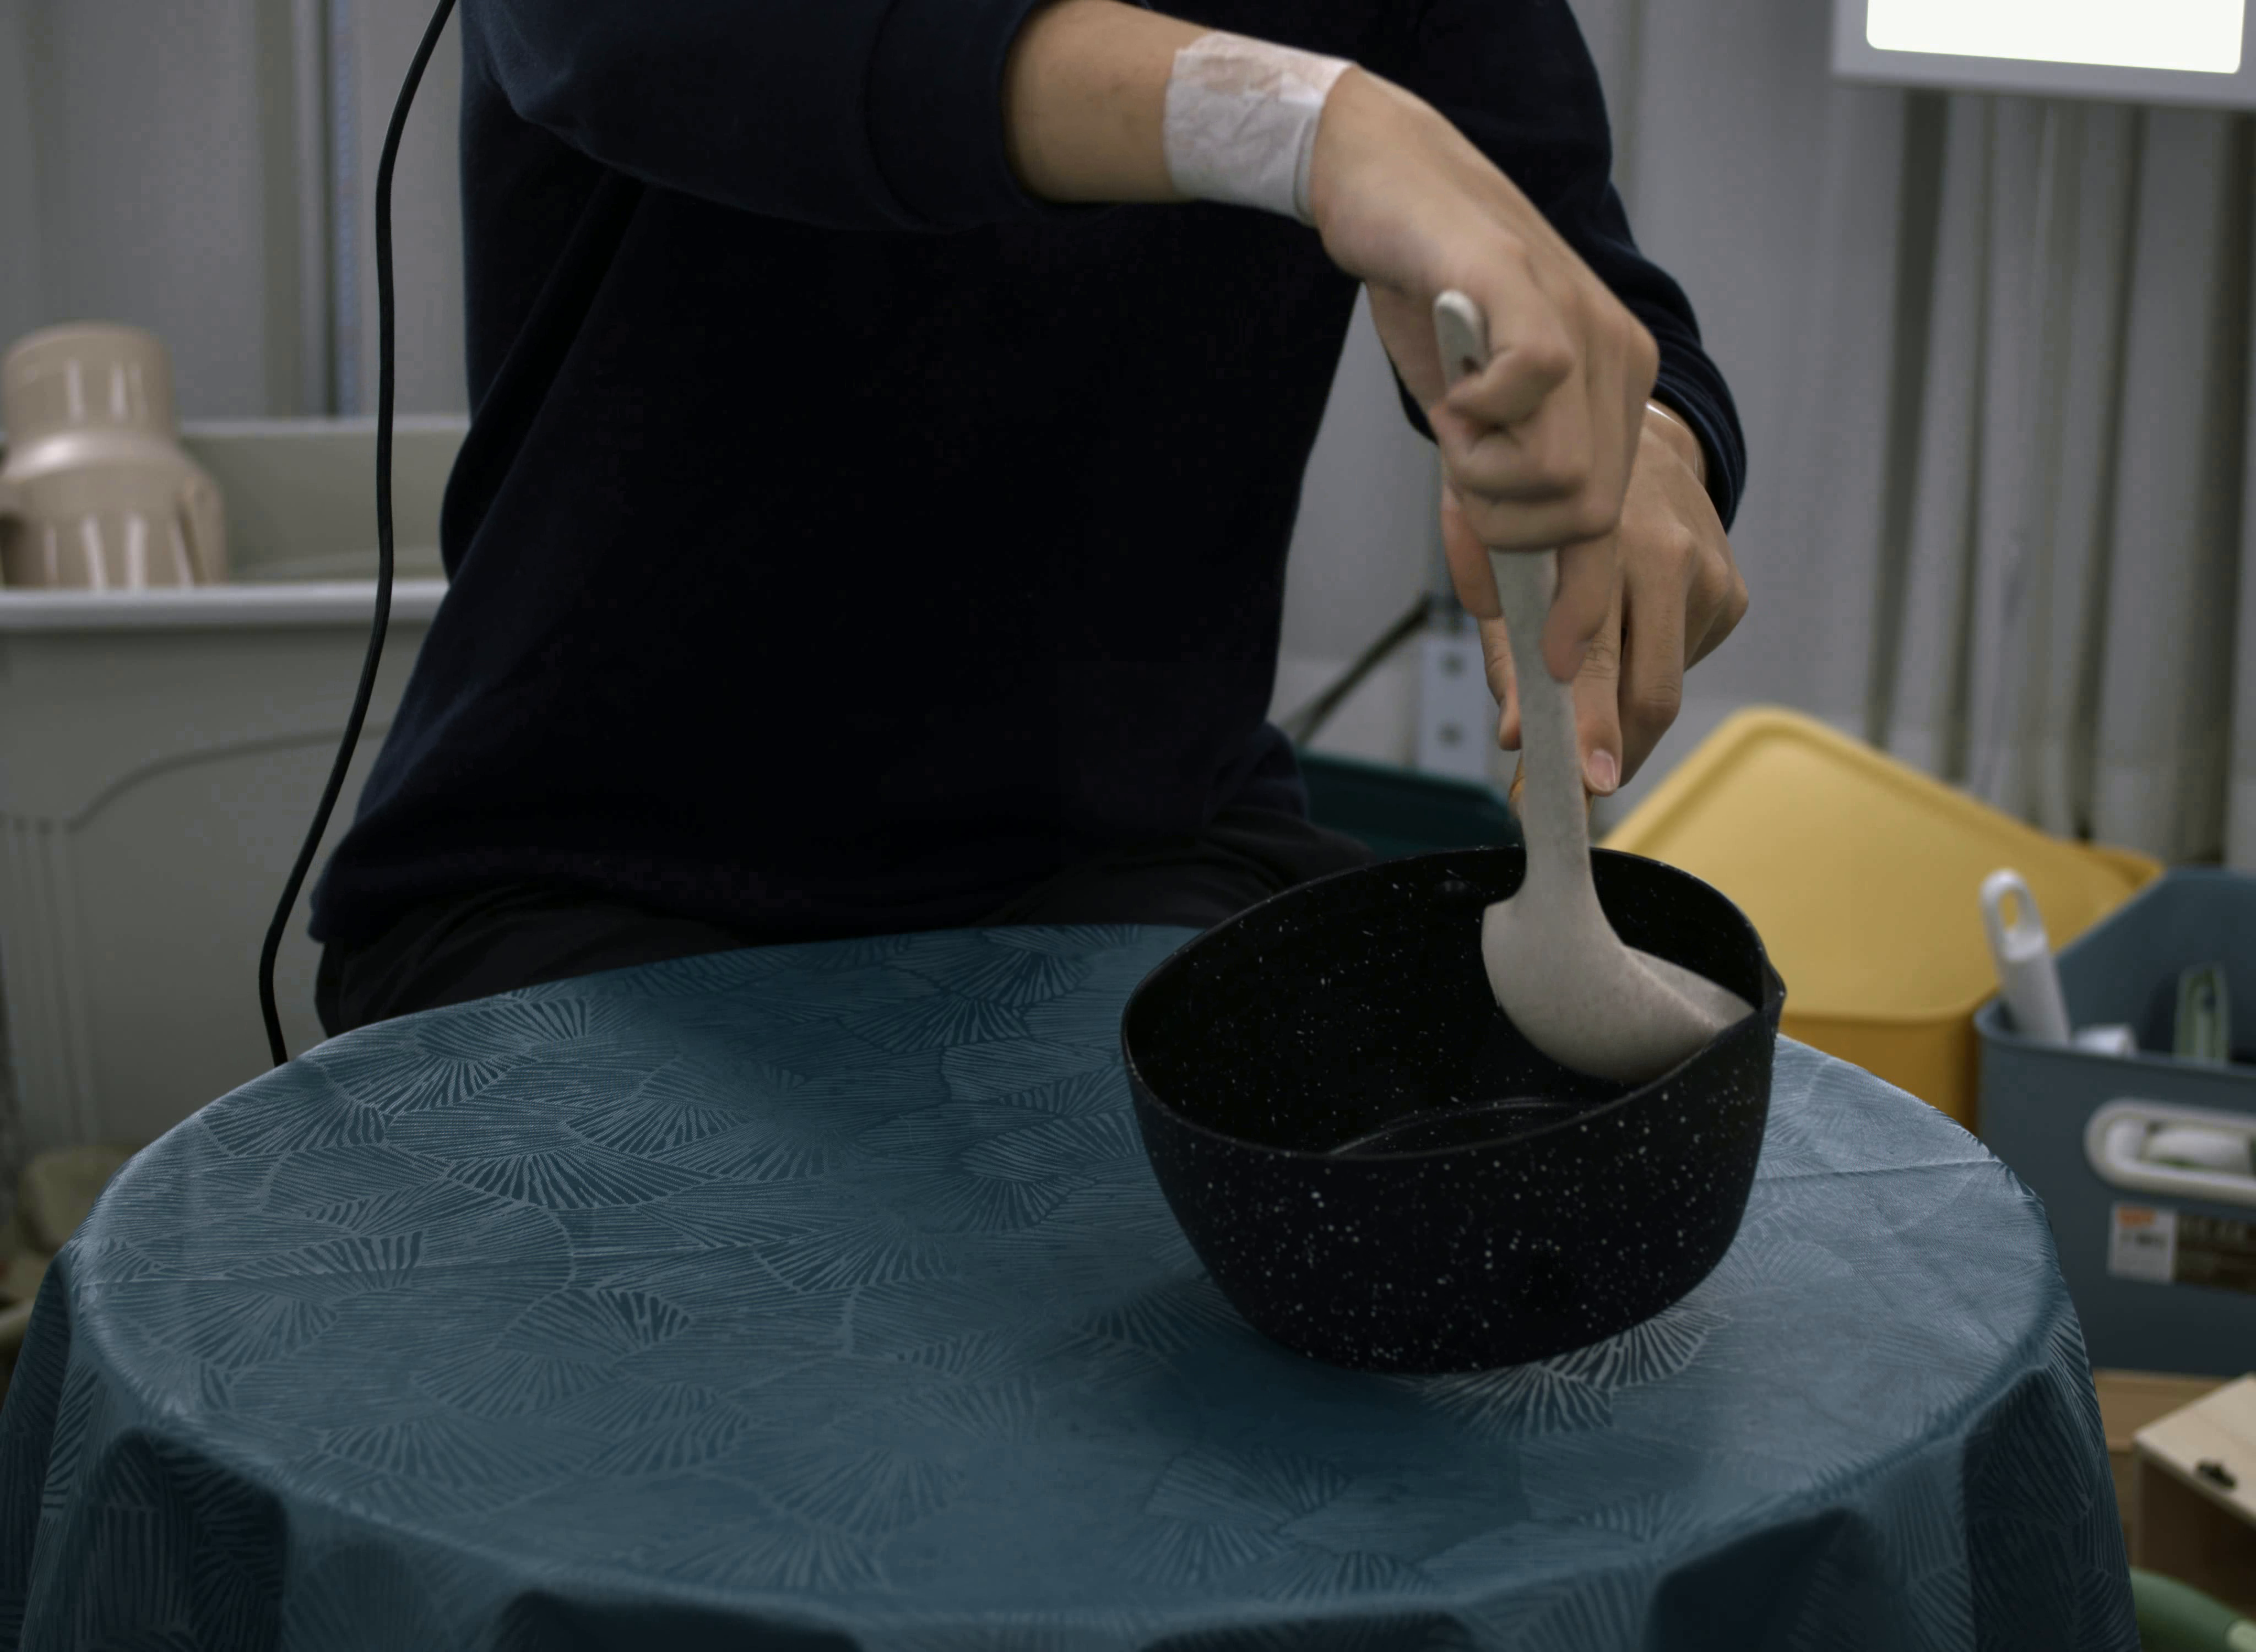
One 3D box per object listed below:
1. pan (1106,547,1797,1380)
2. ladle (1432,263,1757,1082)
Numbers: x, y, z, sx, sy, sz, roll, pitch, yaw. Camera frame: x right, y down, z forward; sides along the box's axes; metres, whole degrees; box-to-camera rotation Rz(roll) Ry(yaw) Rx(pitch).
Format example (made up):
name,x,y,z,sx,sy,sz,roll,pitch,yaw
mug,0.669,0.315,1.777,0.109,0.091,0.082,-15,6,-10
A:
name,x,y,z,sx,sy,sz,roll,pitch,yaw
pan,0.114,0.037,1.576,0.206,0.109,0.341,-3,28,18
ladle,0.124,-0.045,1.428,0.069,0.278,0.088,-32,41,-28
